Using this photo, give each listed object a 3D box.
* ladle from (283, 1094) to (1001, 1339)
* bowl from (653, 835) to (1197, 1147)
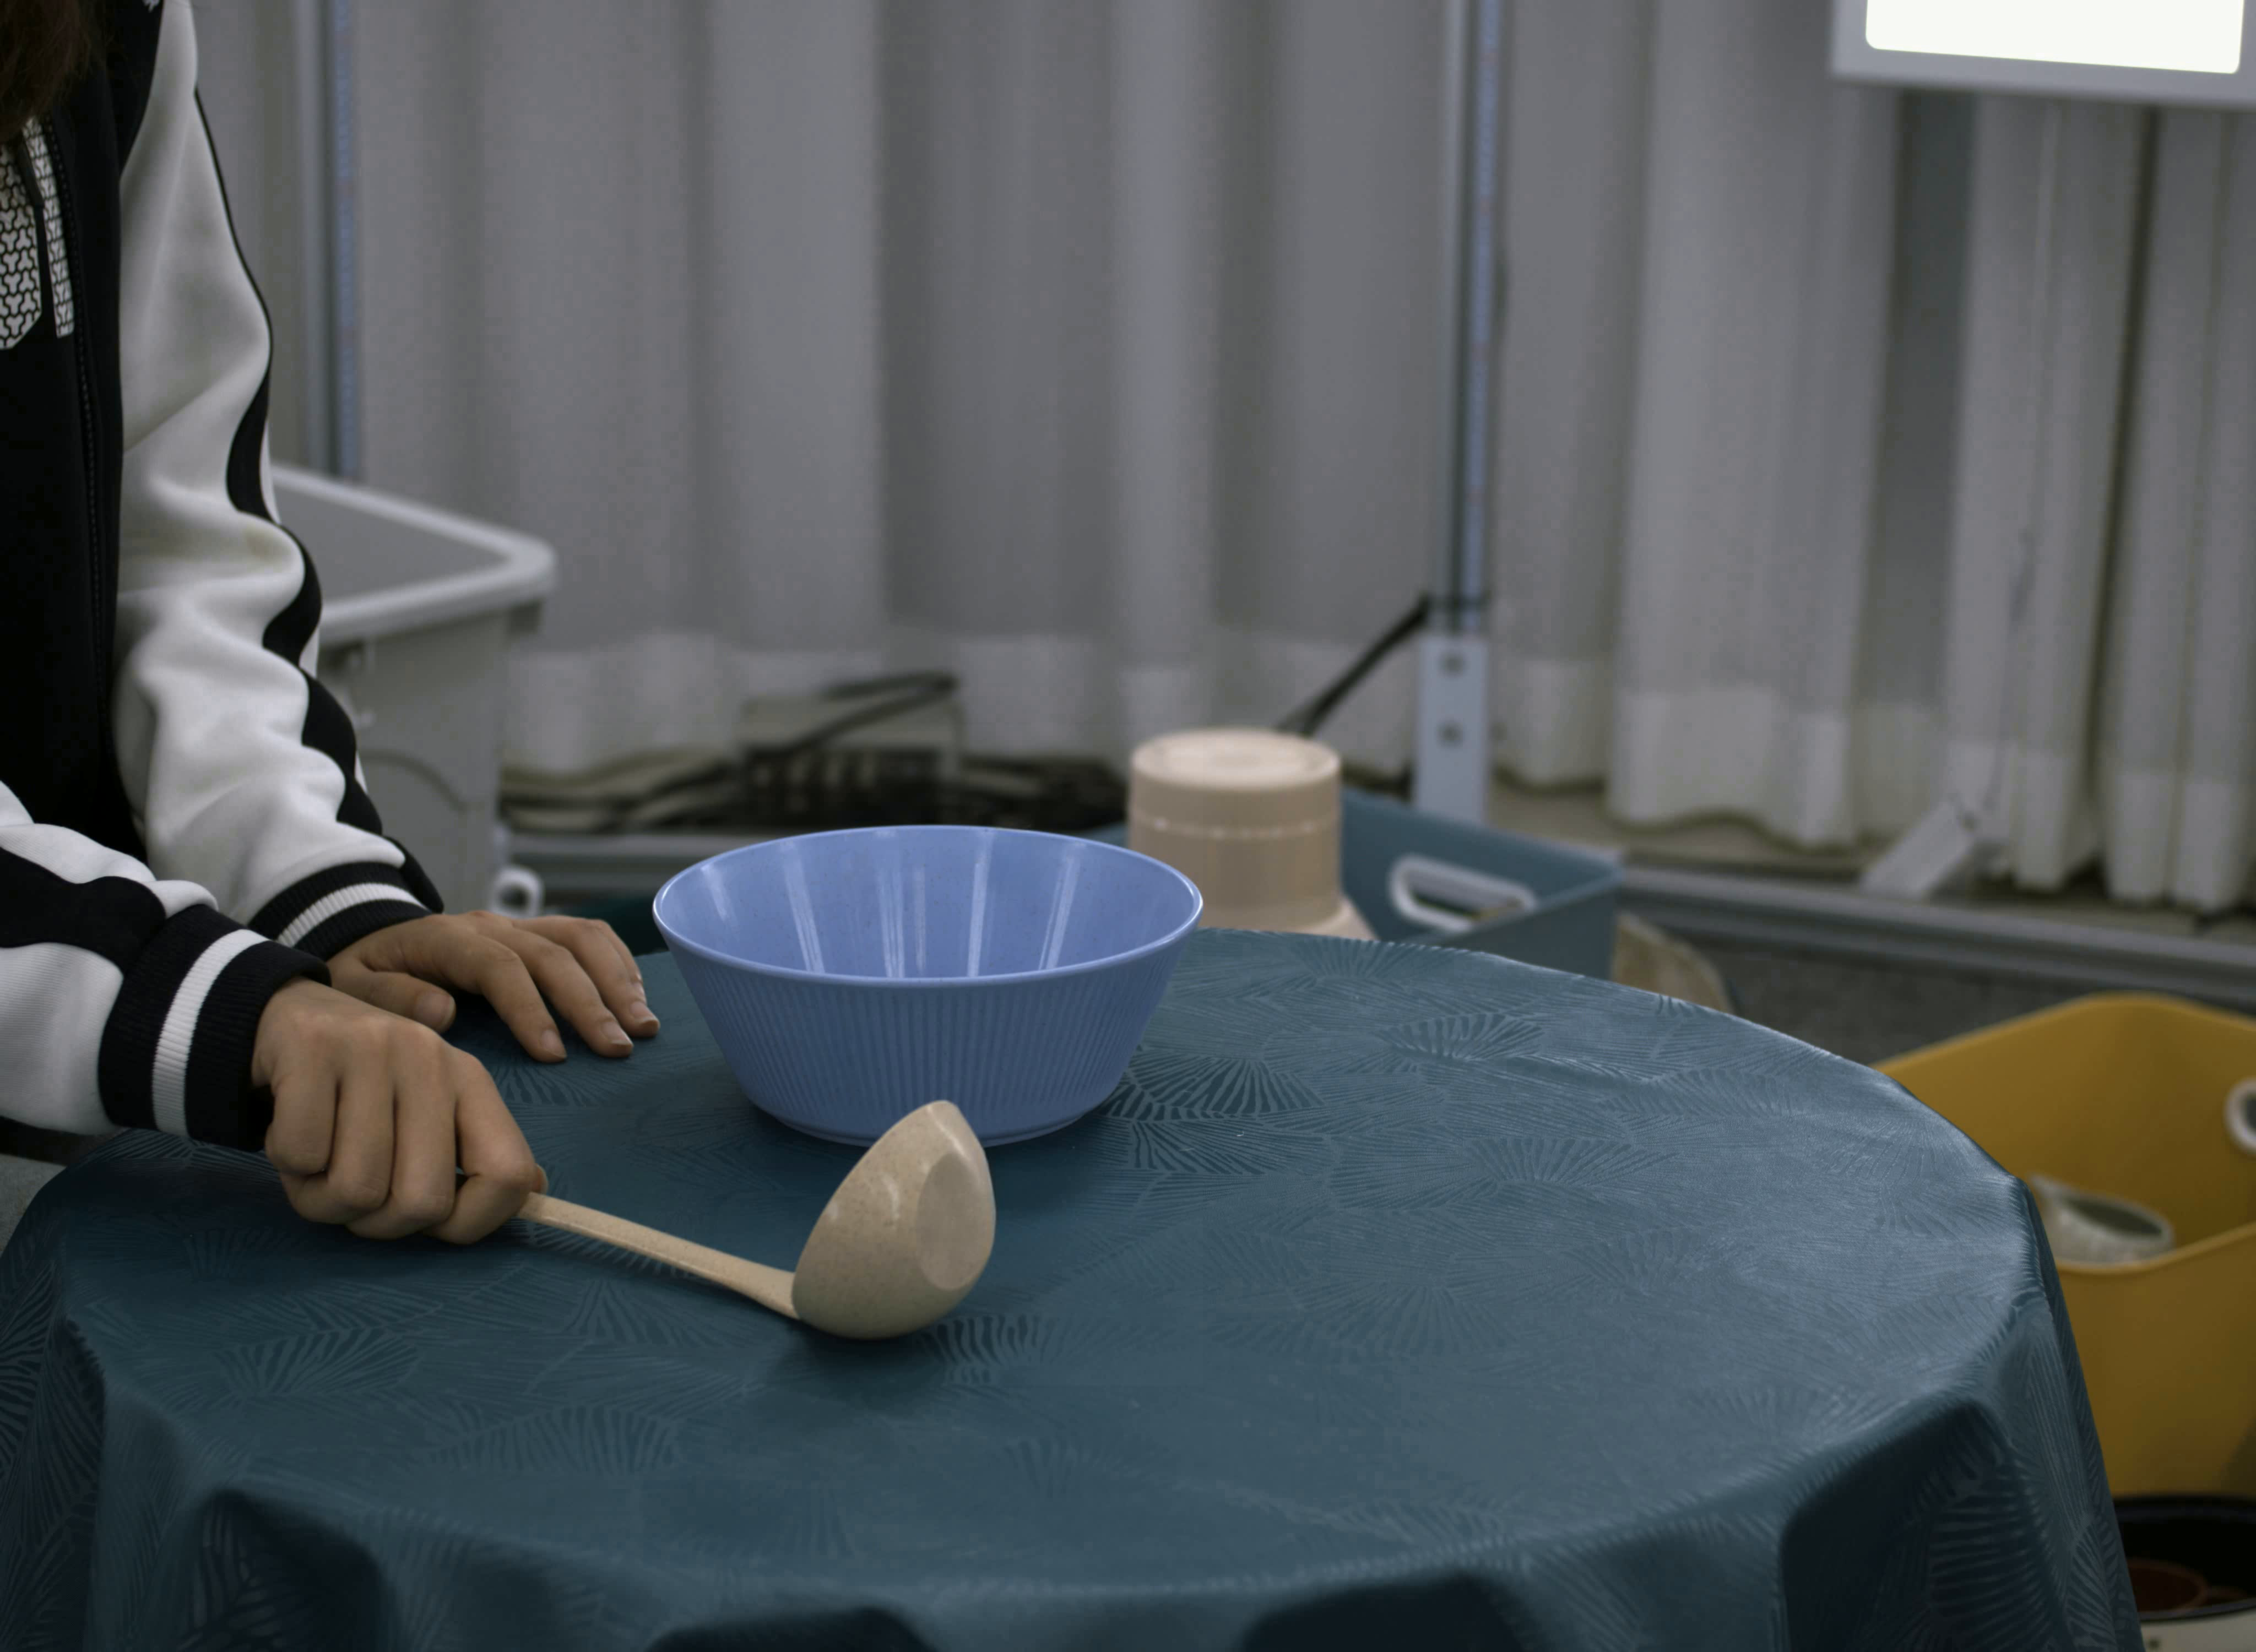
[{"bbox_3d":[-0.152,0.096,1.539,0.251,0.073,0.072,9,23,30],"label":"ladle"},{"bbox_3d":[-0.065,0.055,1.694,0.175,0.071,0.175,1,15,0],"label":"bowl"}]
